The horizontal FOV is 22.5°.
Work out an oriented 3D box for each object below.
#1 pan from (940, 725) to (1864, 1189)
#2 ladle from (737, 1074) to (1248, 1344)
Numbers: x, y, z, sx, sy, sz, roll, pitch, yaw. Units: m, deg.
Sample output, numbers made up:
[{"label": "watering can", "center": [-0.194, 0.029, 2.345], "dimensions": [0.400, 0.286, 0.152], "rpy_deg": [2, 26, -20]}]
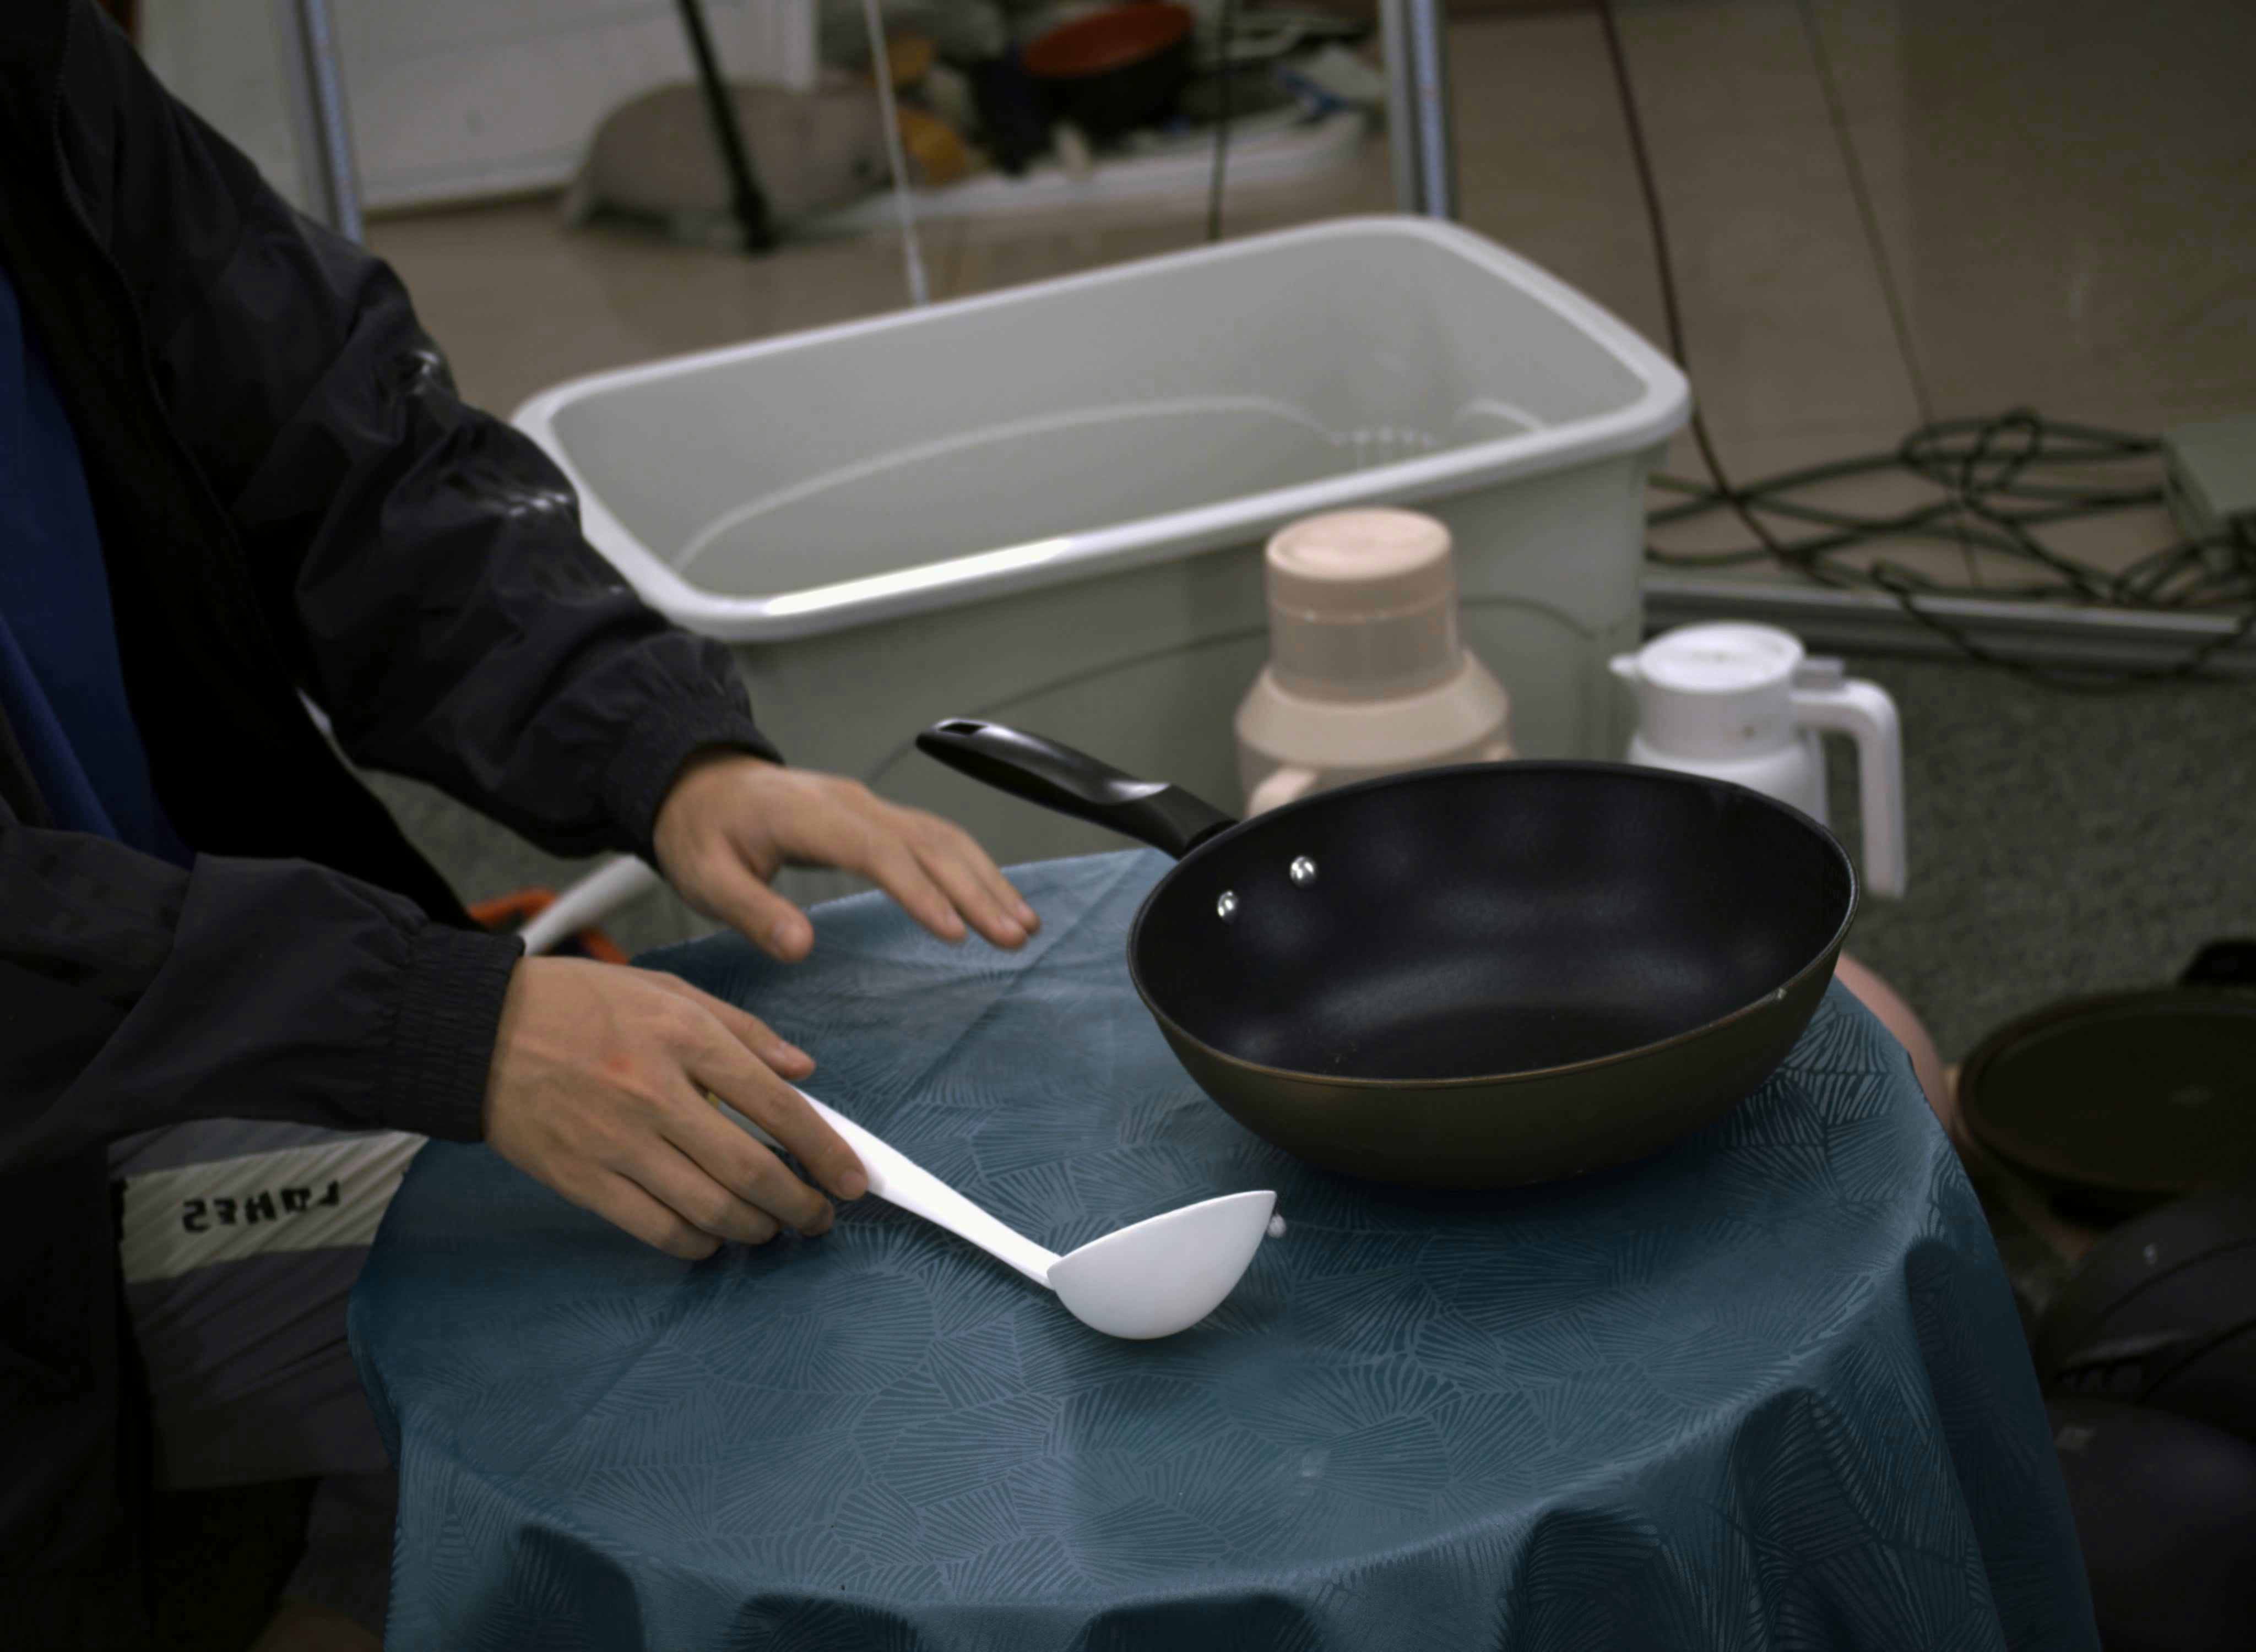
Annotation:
[{"label": "pan", "center": [0.081, 0.046, 2.229], "dimensions": [0.286, 0.088, 0.460], "rpy_deg": [-26, 29, -36]}, {"label": "ladle", "center": [-0.061, 0.129, 2.112], "dimensions": [0.089, 0.071, 0.290], "rpy_deg": [-23, 26, -29]}]
